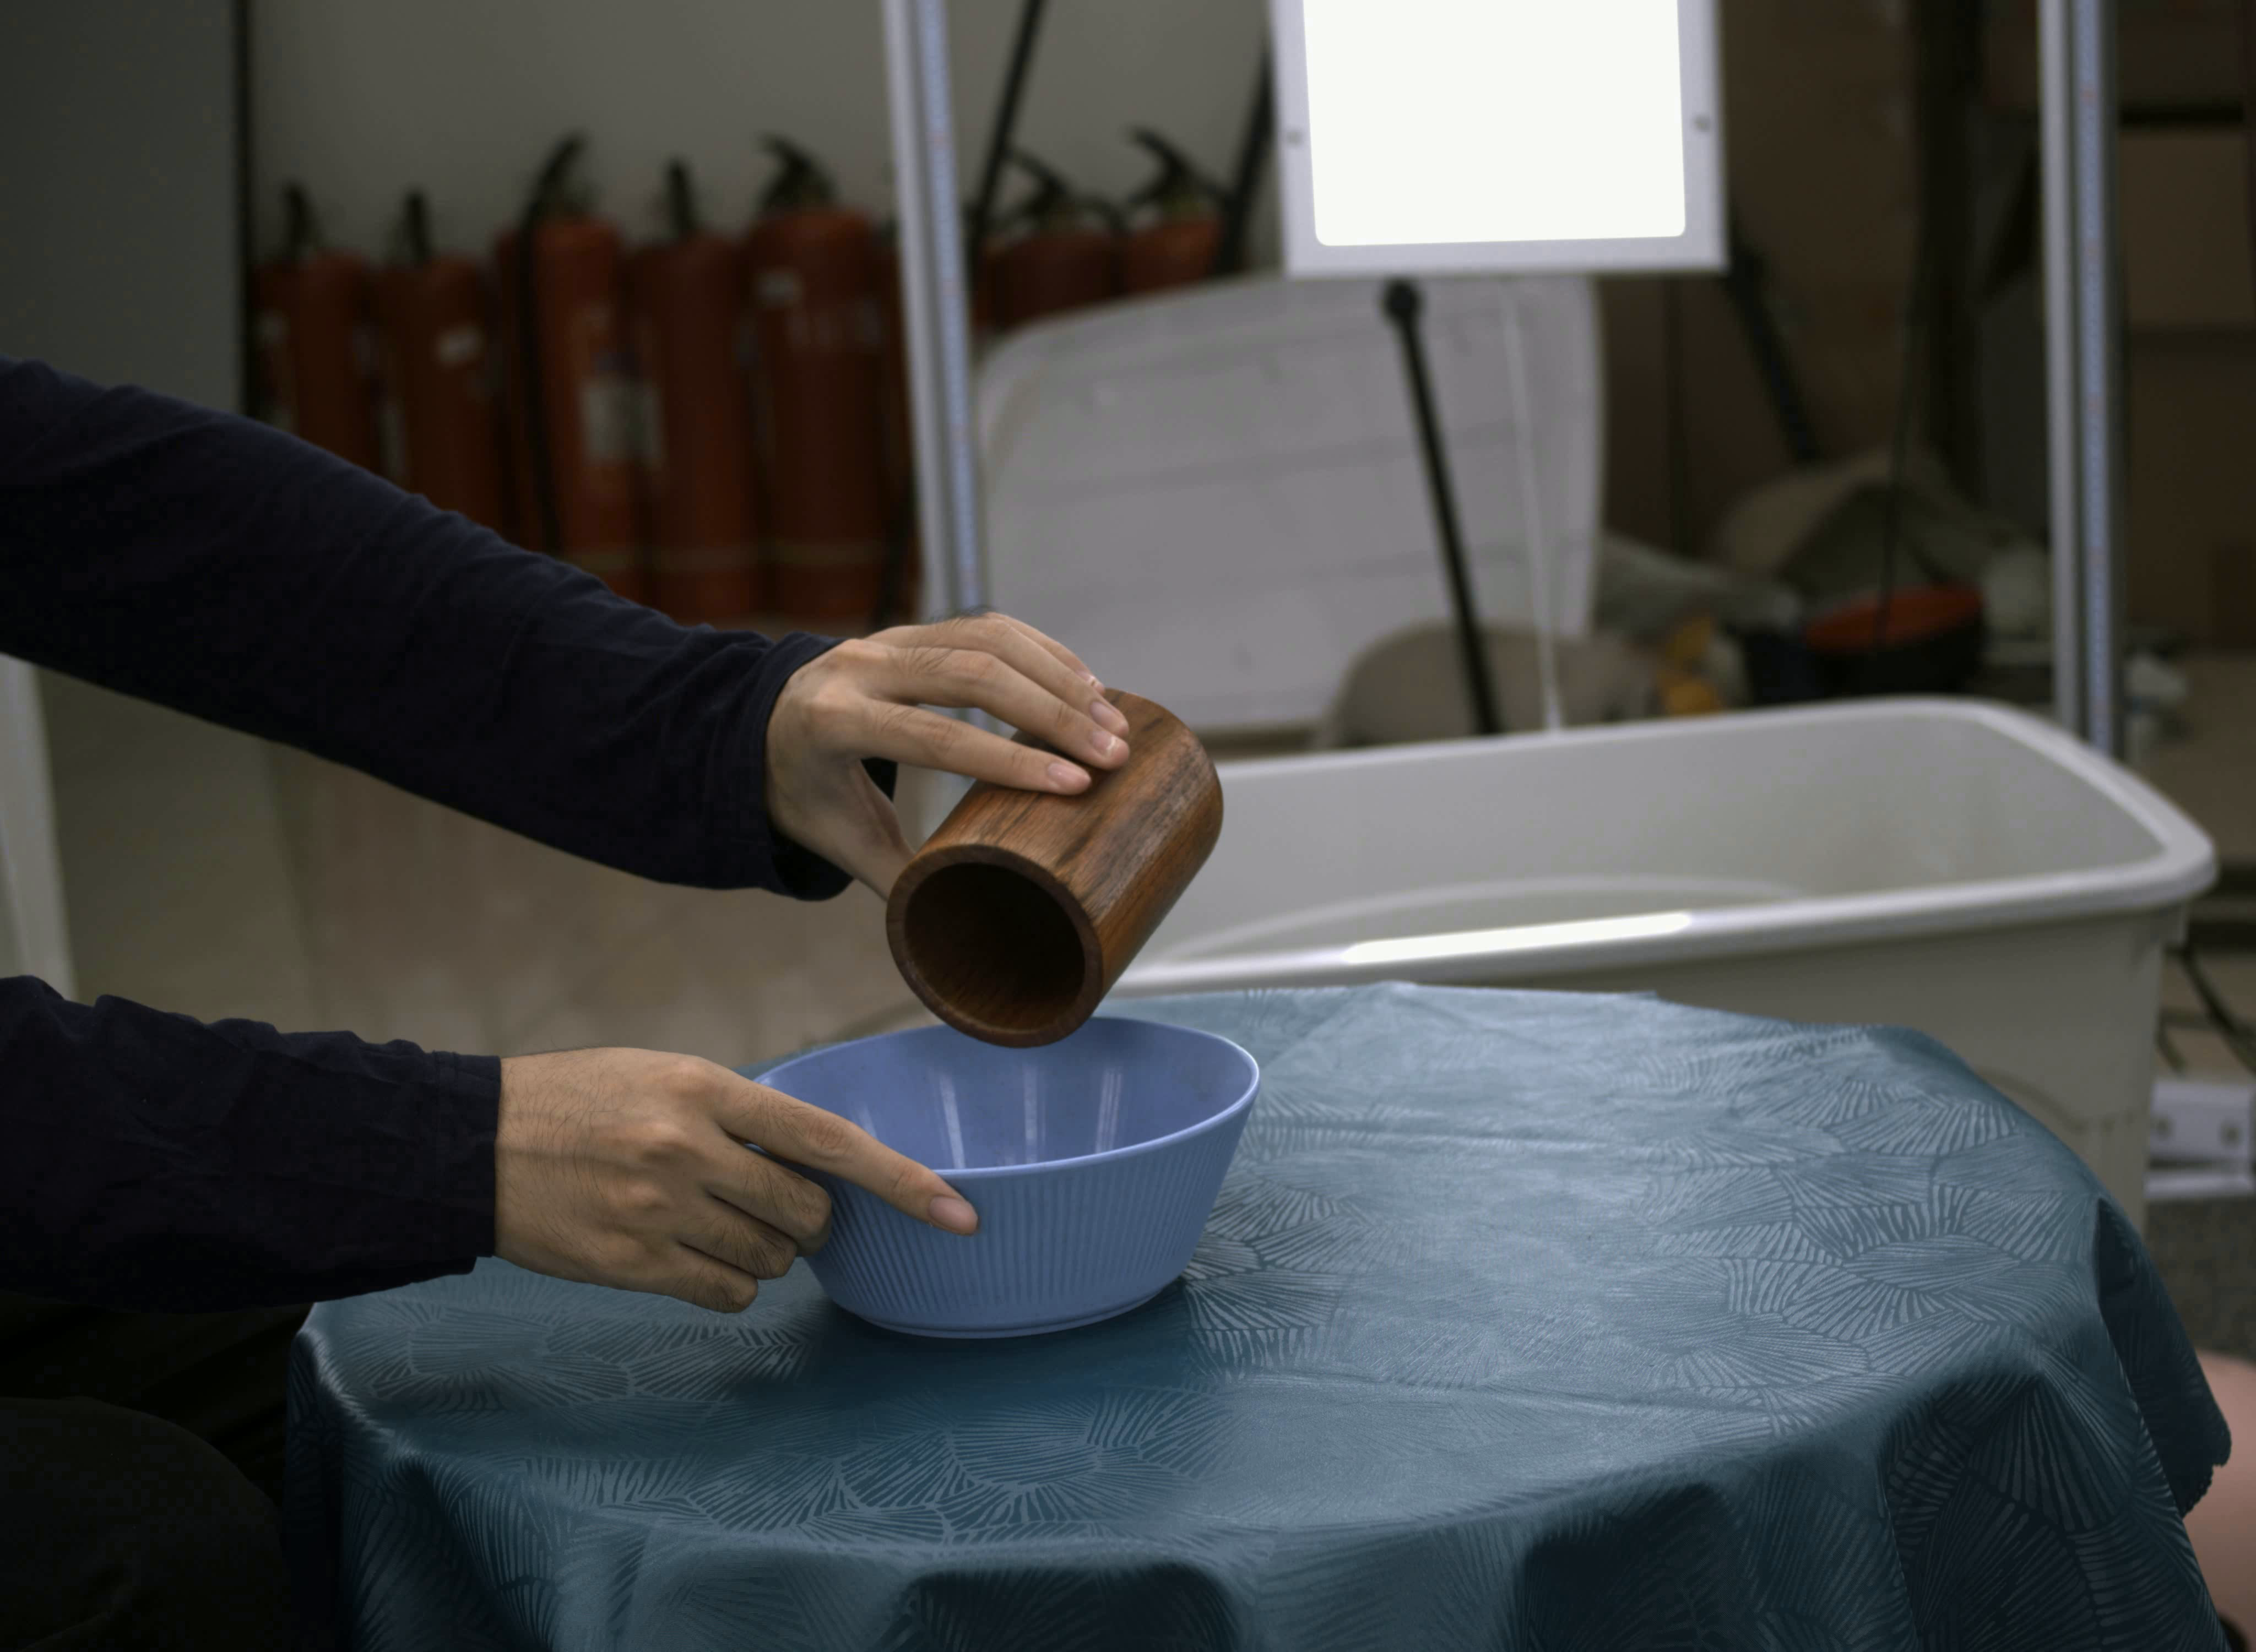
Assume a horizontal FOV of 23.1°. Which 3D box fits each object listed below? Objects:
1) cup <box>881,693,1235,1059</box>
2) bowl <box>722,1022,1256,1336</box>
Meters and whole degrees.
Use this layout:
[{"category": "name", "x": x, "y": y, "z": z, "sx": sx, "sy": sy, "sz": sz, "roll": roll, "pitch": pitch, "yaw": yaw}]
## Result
[{"category": "cup", "x": -0.022, "y": 0.017, "z": 1.854, "sx": 0.089, "sy": 0.088, "sz": 0.116, "roll": 3, "pitch": 28, "yaw": 28}, {"category": "bowl", "x": -0.043, "y": 0.118, "z": 1.802, "sx": 0.175, "sy": 0.070, "sz": 0.176, "roll": -6, "pitch": 13, "yaw": 0}]
